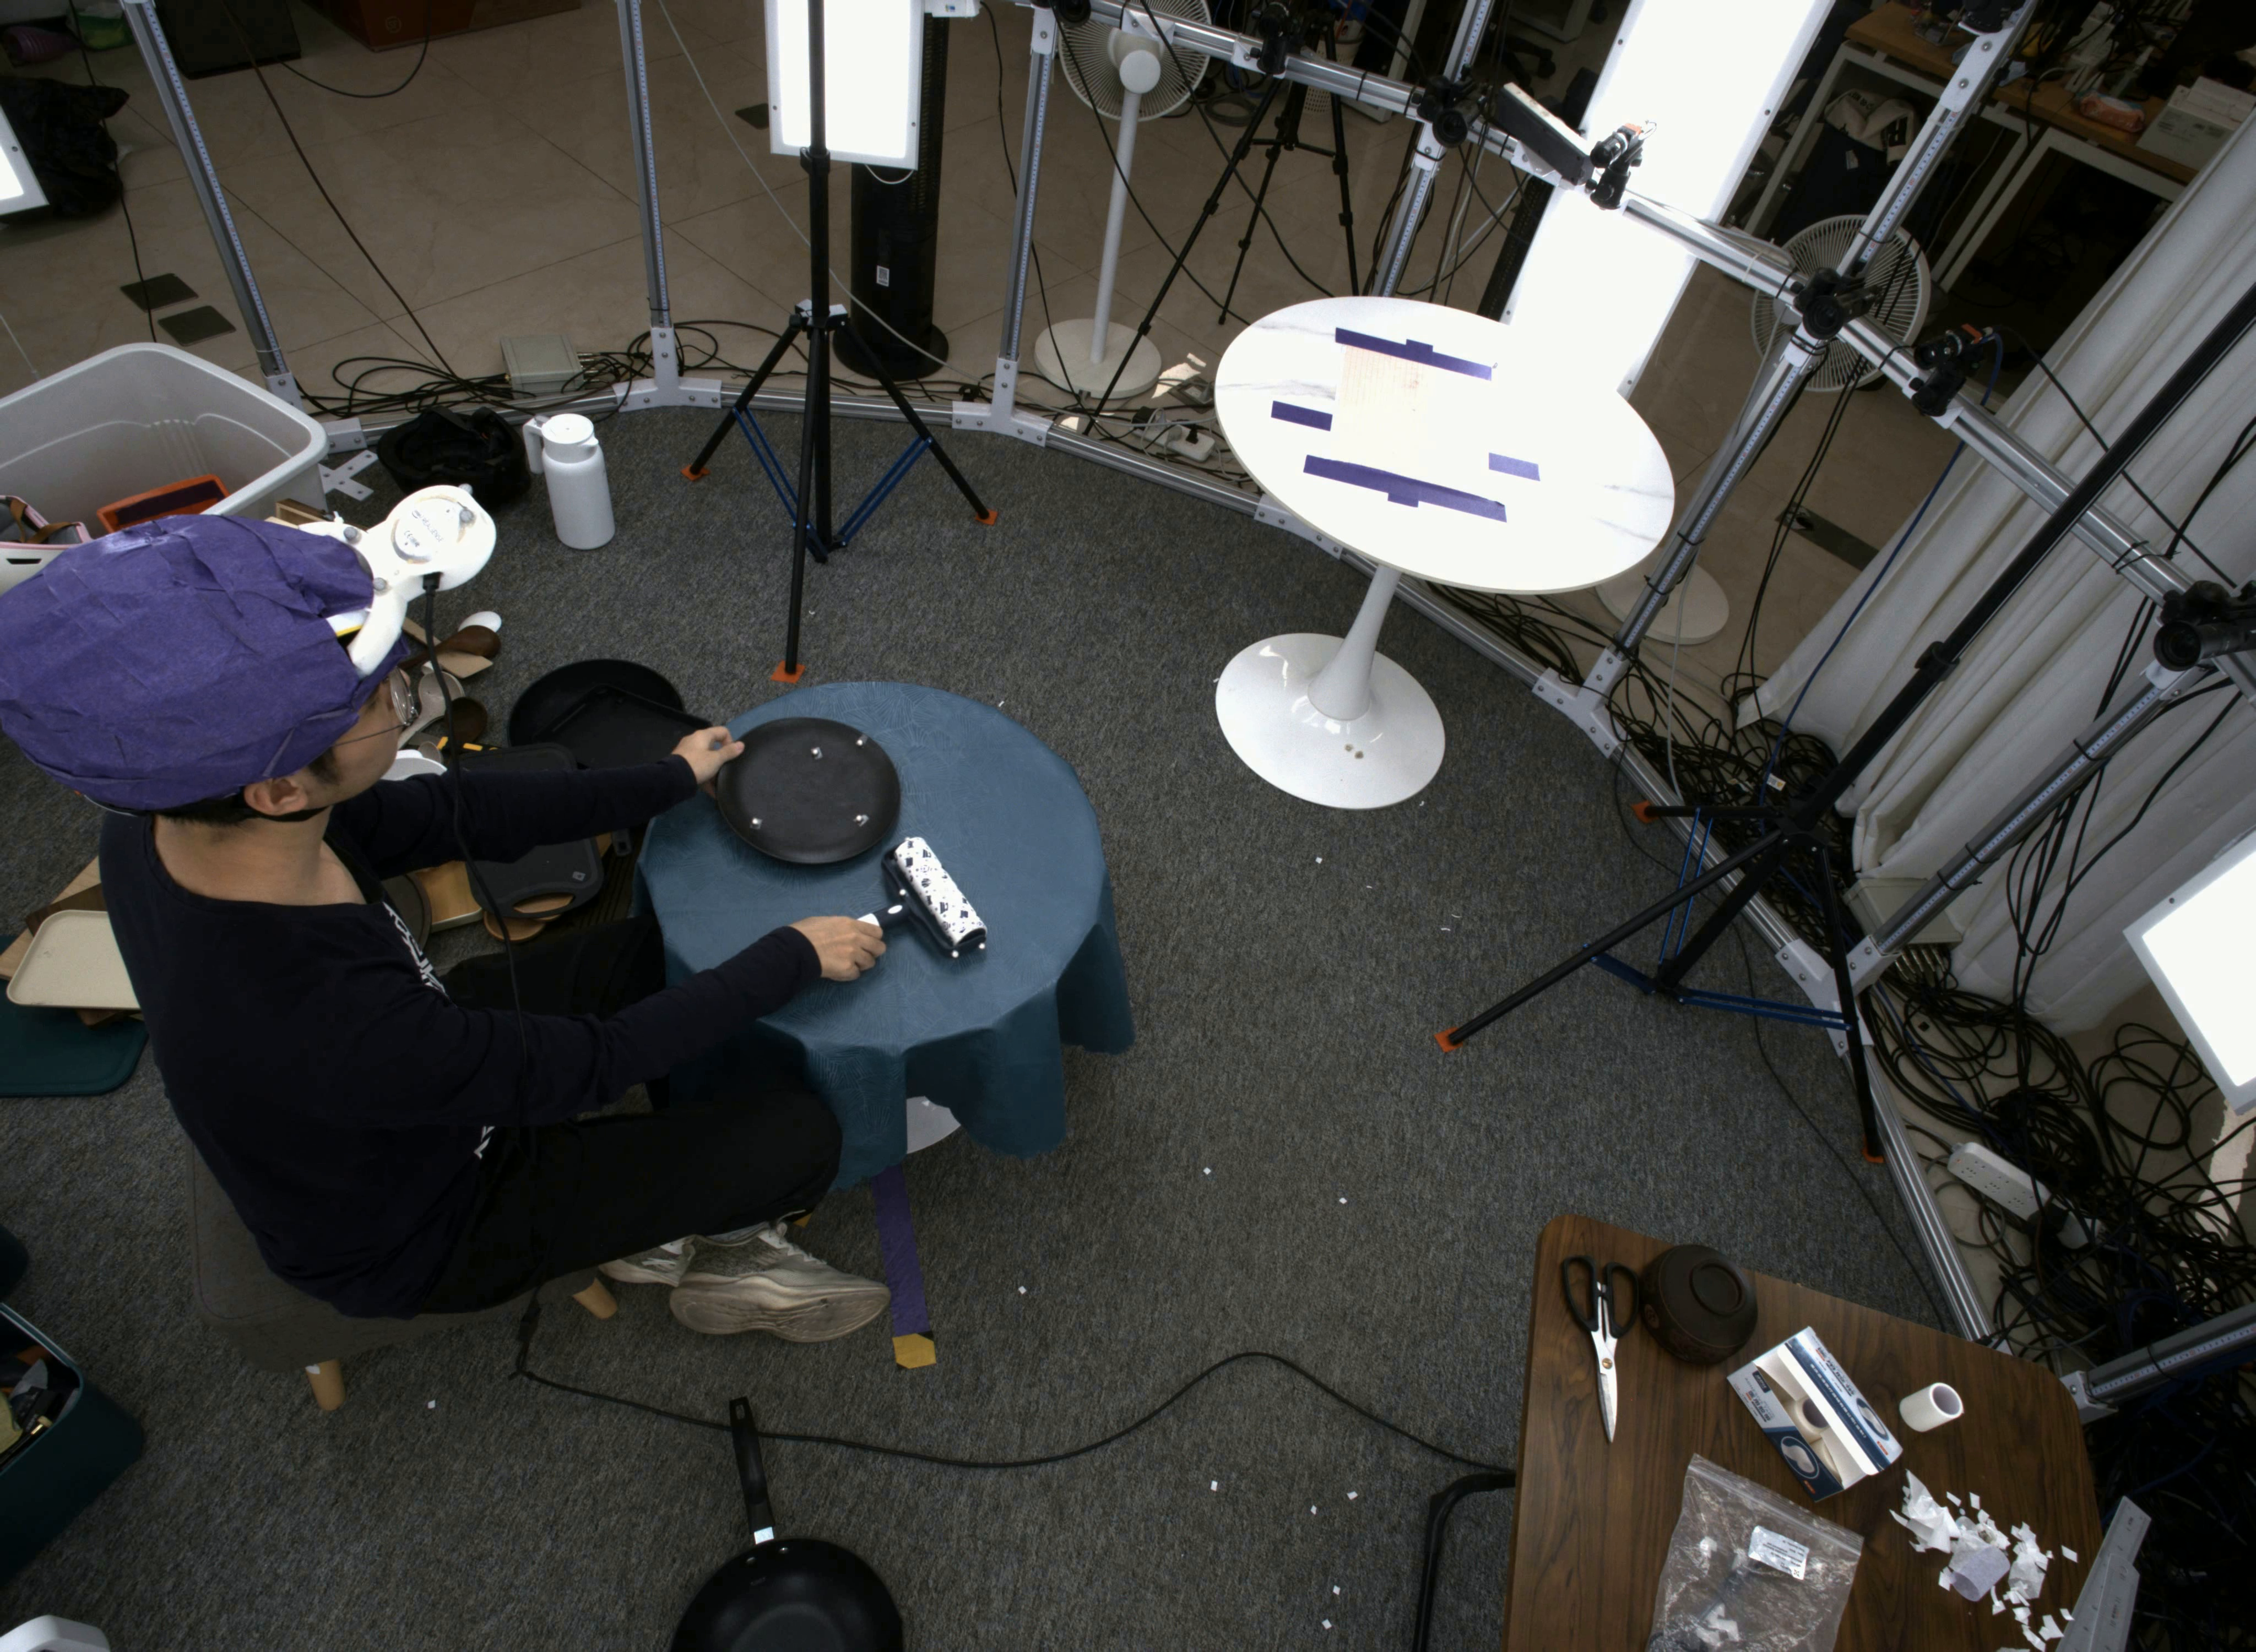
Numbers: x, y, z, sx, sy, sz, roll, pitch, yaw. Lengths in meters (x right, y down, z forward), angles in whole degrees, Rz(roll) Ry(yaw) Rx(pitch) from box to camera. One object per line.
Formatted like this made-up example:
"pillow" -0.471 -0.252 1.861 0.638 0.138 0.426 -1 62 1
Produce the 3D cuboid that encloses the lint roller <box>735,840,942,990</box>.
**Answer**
"lint roller" -0.377 0.131 1.622 0.248 0.051 0.172 -29 66 -29

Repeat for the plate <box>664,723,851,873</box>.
"plate" -0.491 -0.036 1.720 0.245 0.024 0.240 11 54 -13
